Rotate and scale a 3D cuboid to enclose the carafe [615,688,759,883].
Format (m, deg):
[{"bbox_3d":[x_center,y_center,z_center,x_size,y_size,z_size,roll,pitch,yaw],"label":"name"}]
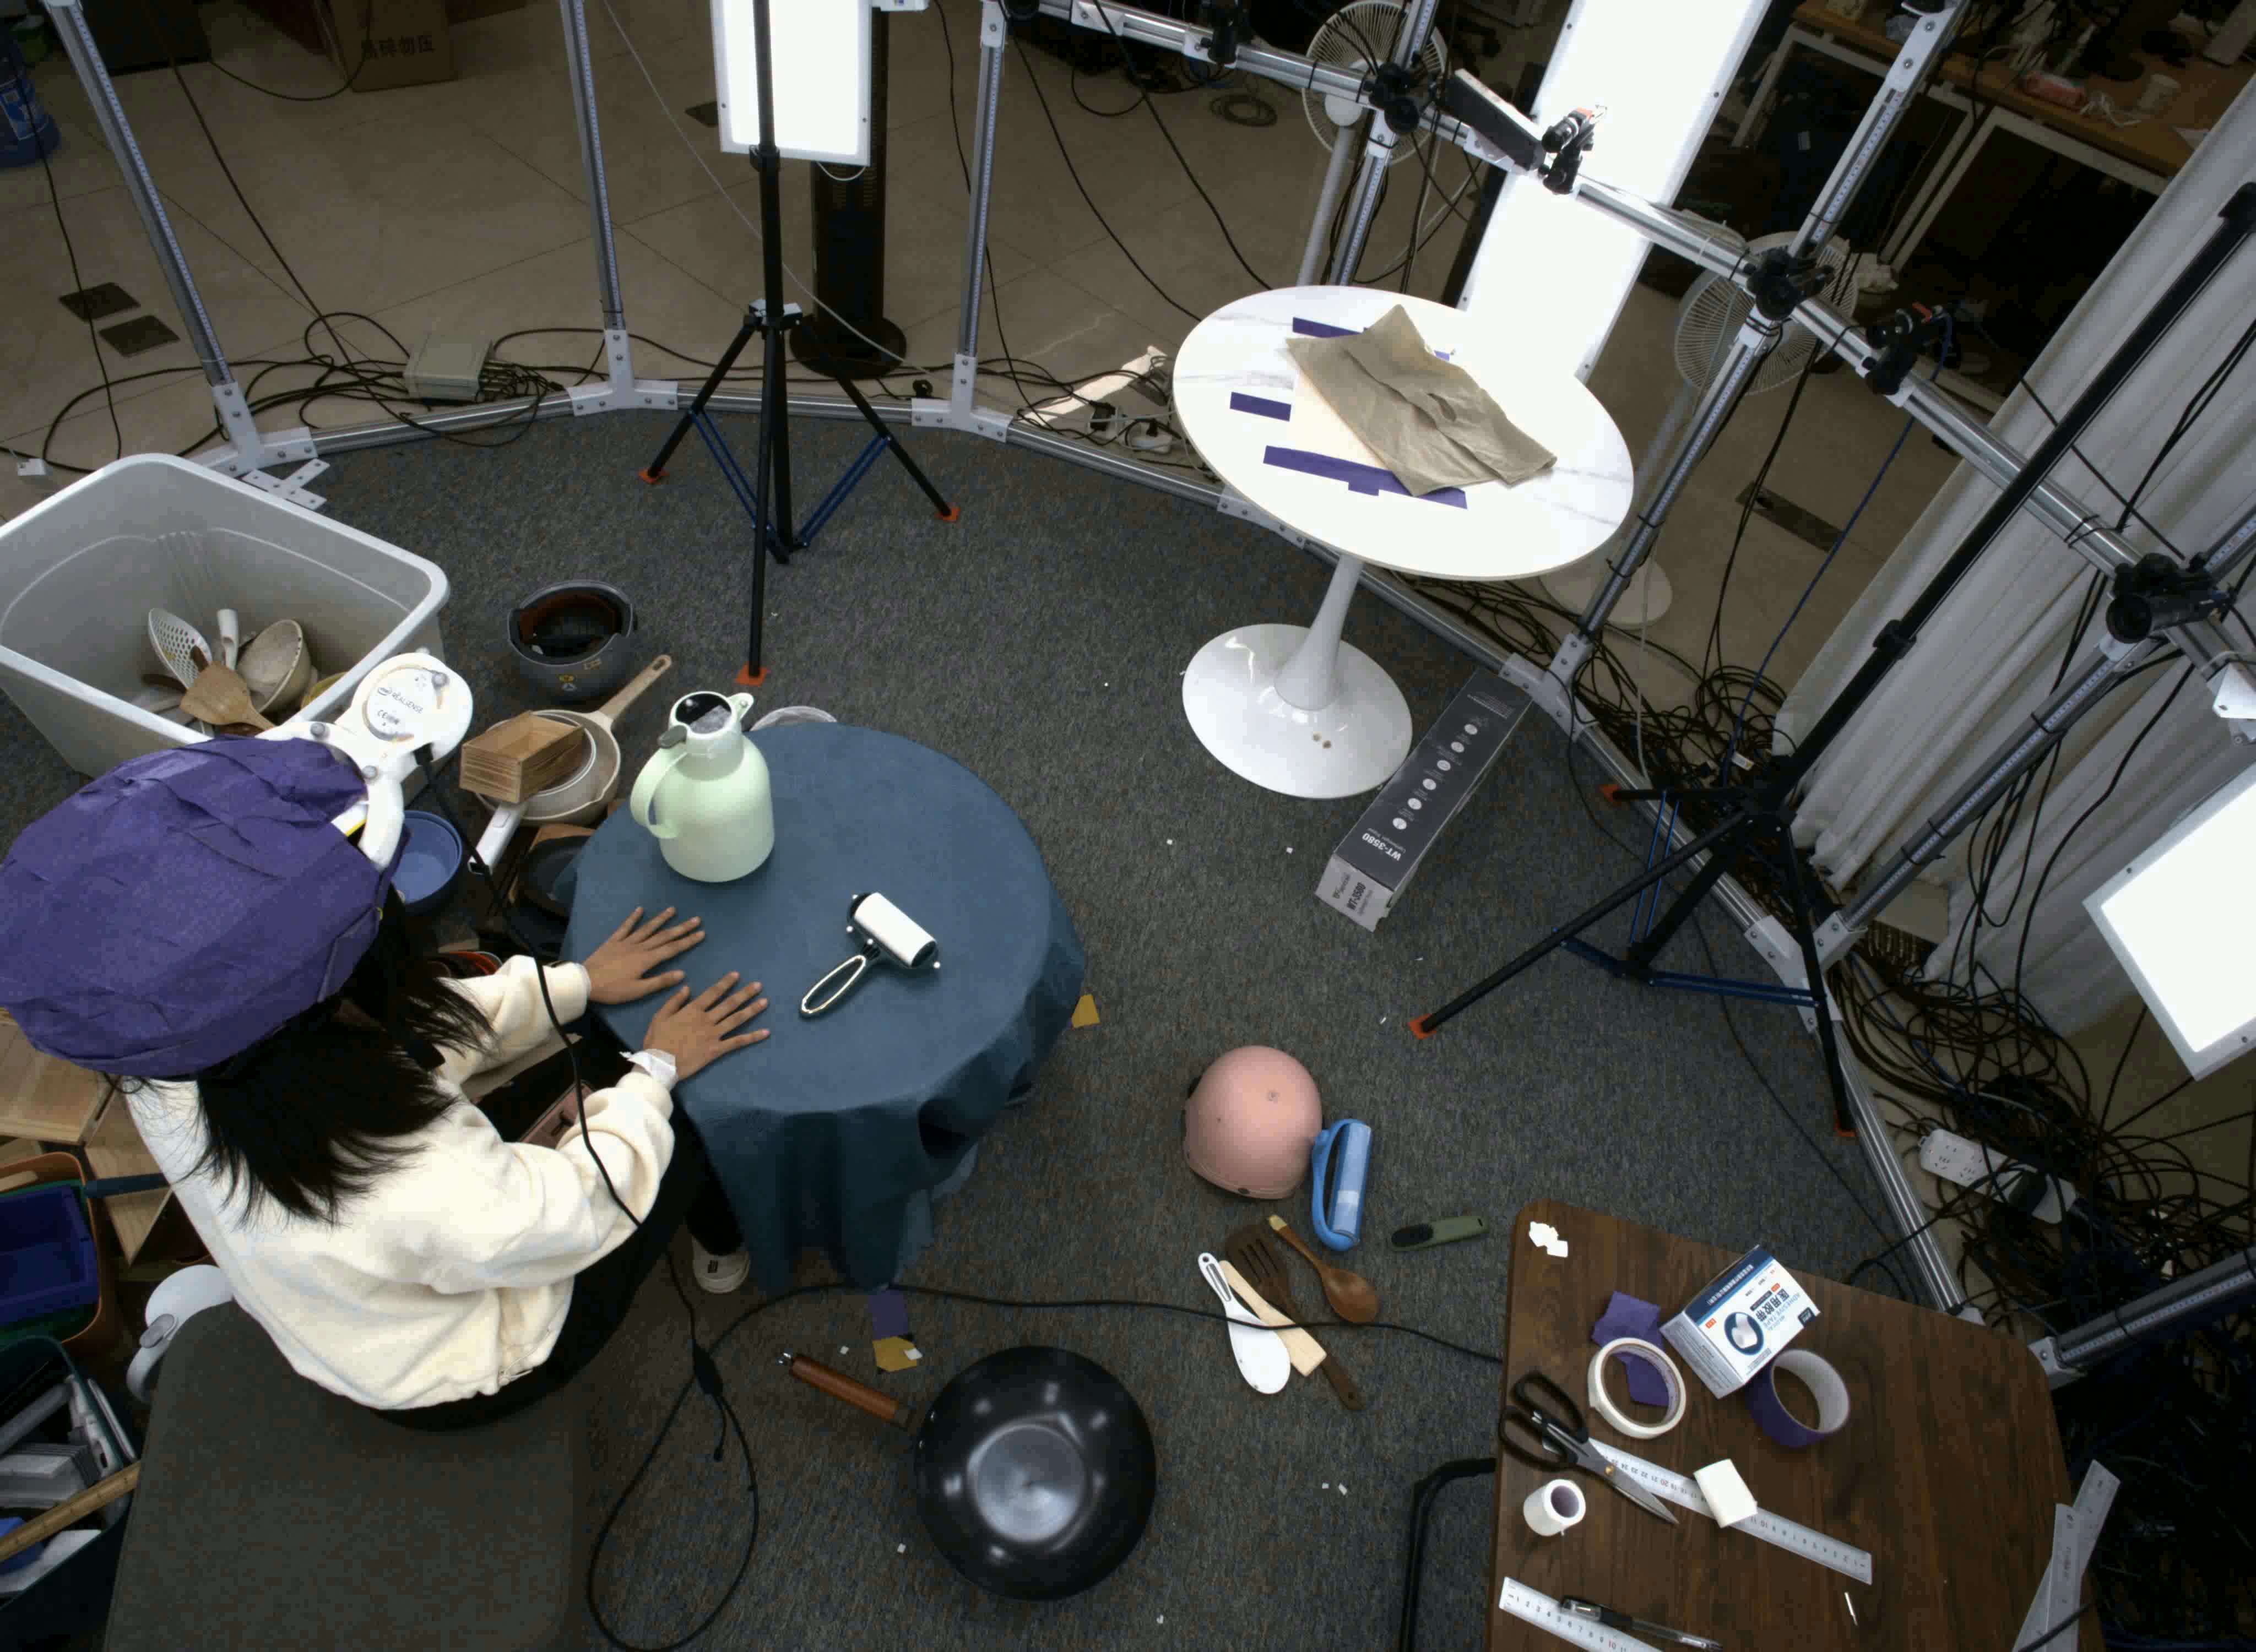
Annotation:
[{"bbox_3d":[-0.539,-0.047,1.562,0.142,0.262,0.186,34,57,13],"label":"carafe"}]

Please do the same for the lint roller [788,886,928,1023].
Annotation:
[{"bbox_3d":[-0.346,0.166,1.584,0.131,0.049,0.180,37,54,15],"label":"lint roller"}]
